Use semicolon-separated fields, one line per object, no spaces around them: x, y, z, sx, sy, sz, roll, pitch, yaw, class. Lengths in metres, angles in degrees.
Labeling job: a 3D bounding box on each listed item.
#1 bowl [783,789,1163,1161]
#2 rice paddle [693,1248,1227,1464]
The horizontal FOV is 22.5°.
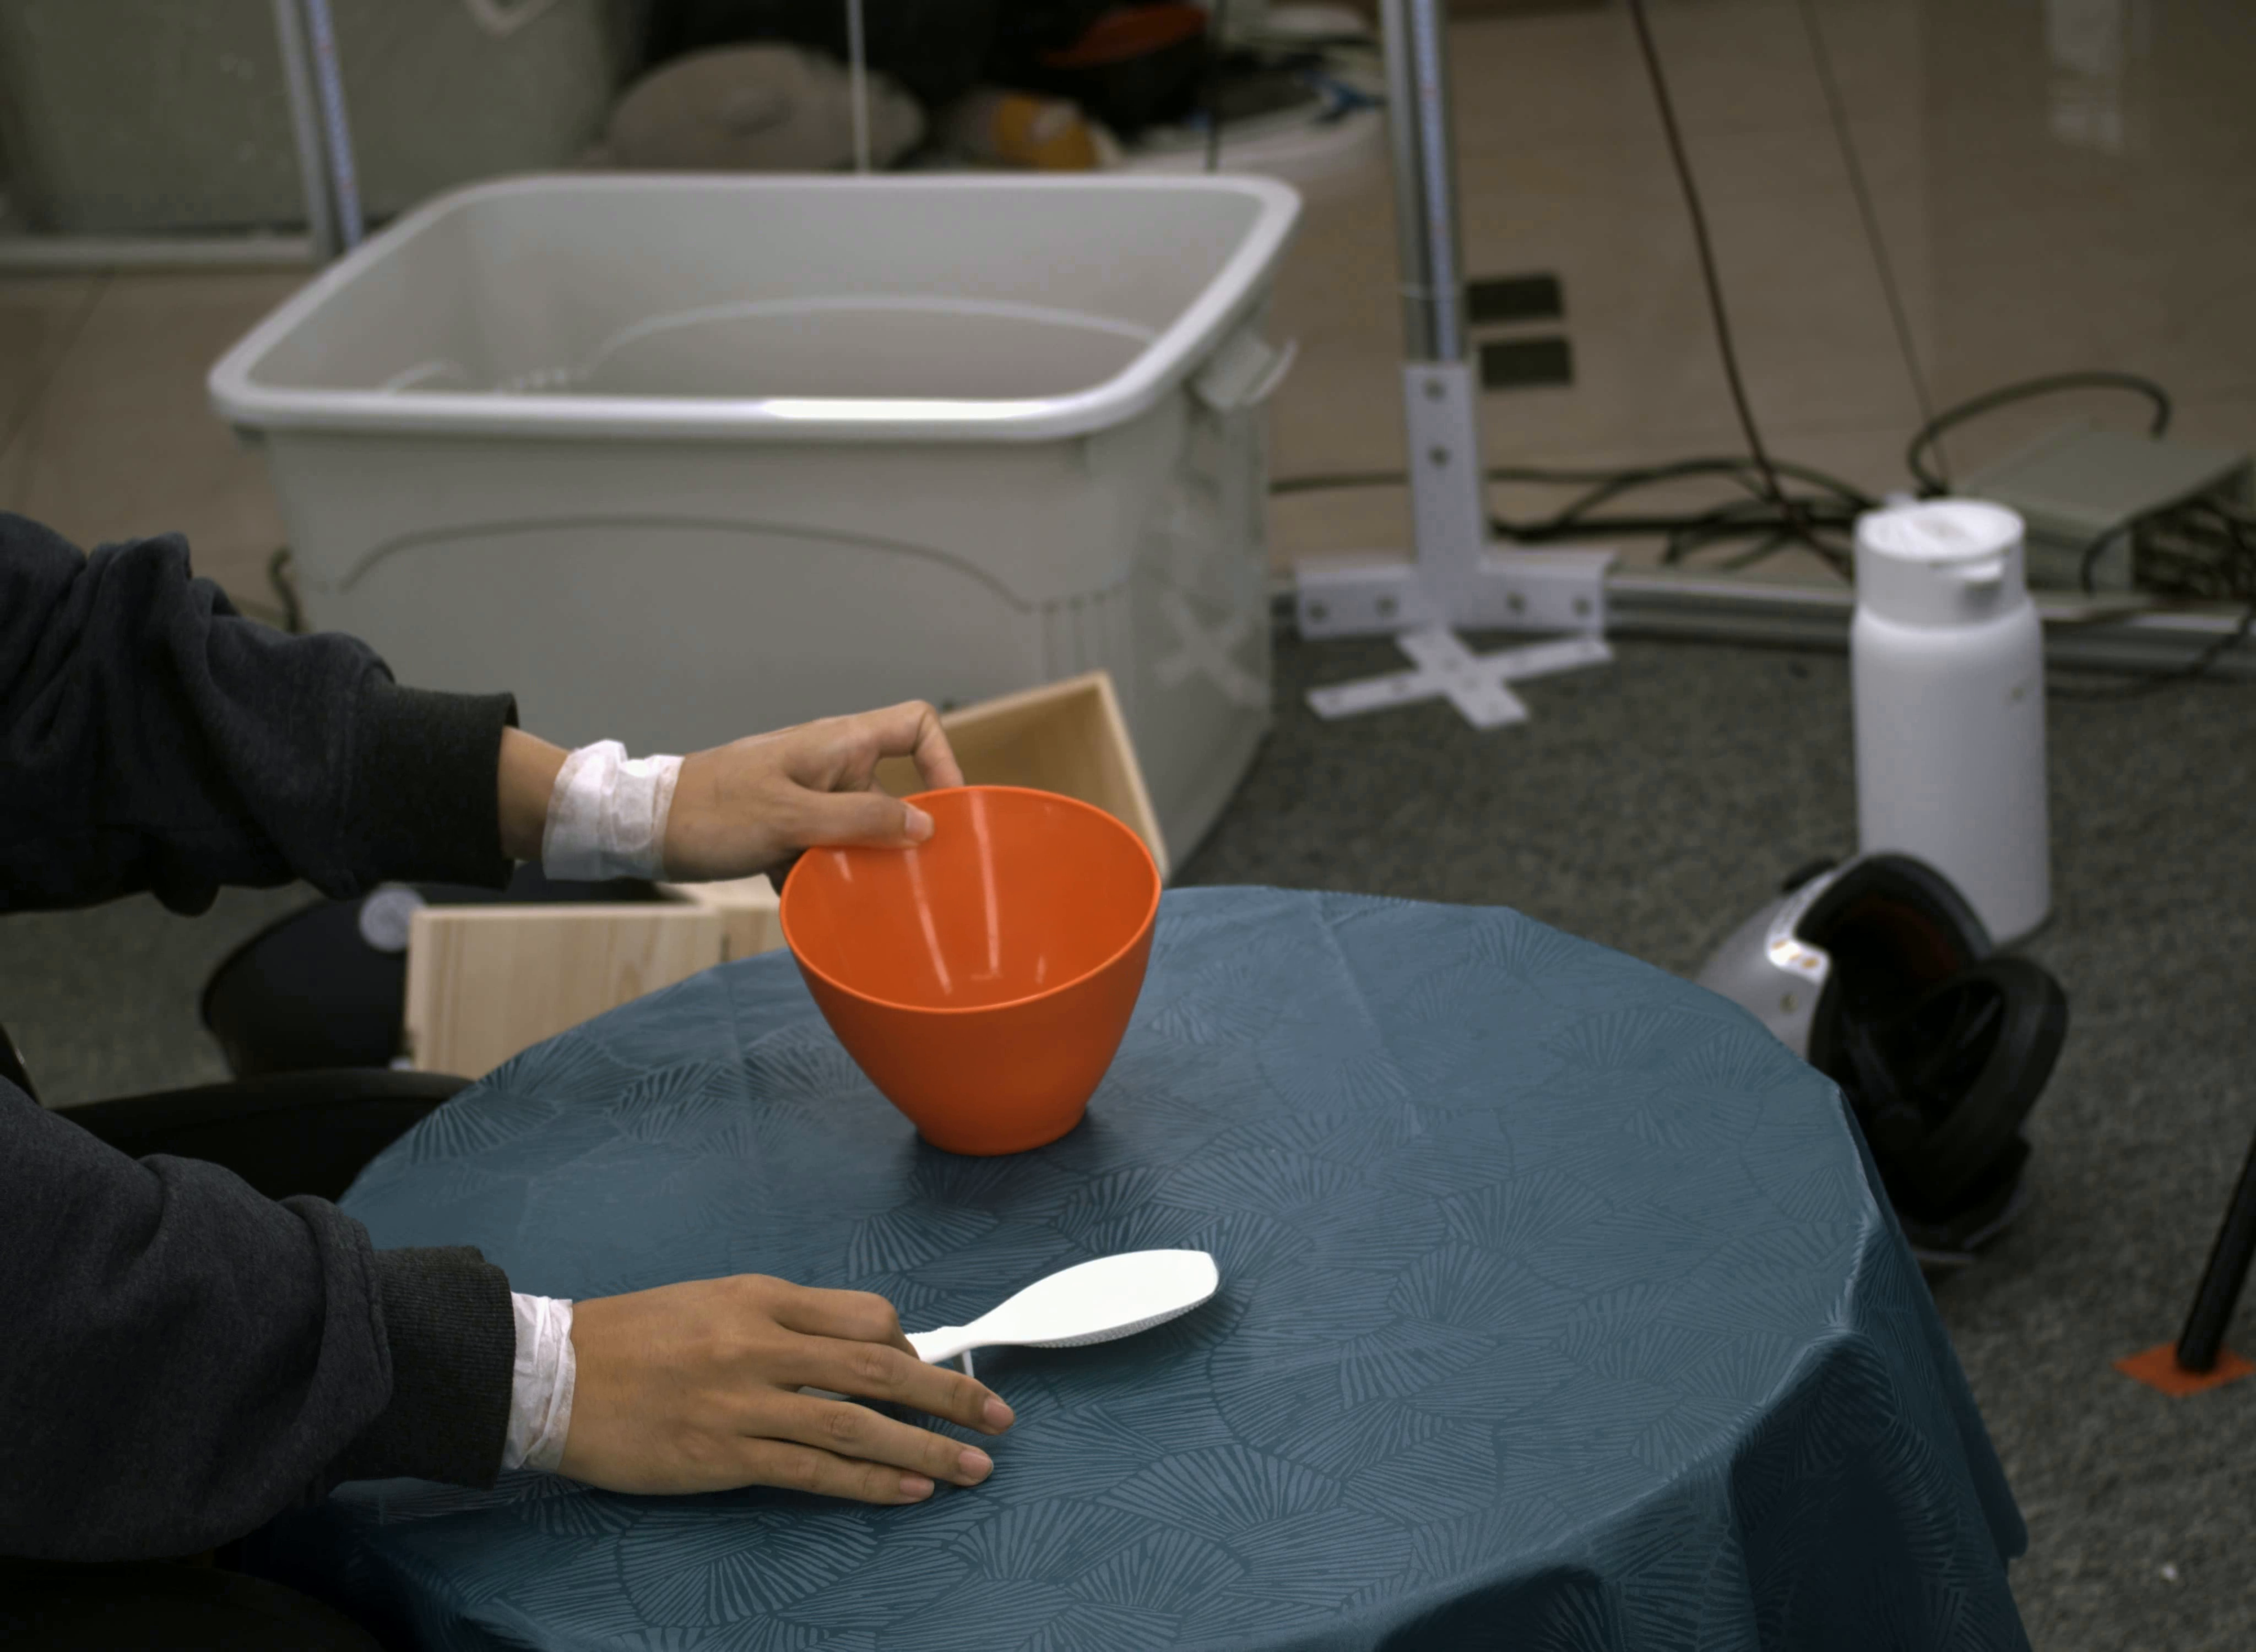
-0.056;0.064;2.201;0.148;0.106;0.146;-5;27;2;bowl
-0.057;0.182;2.030;0.204;0.030;0.068;-16;19;-23;rice paddle
